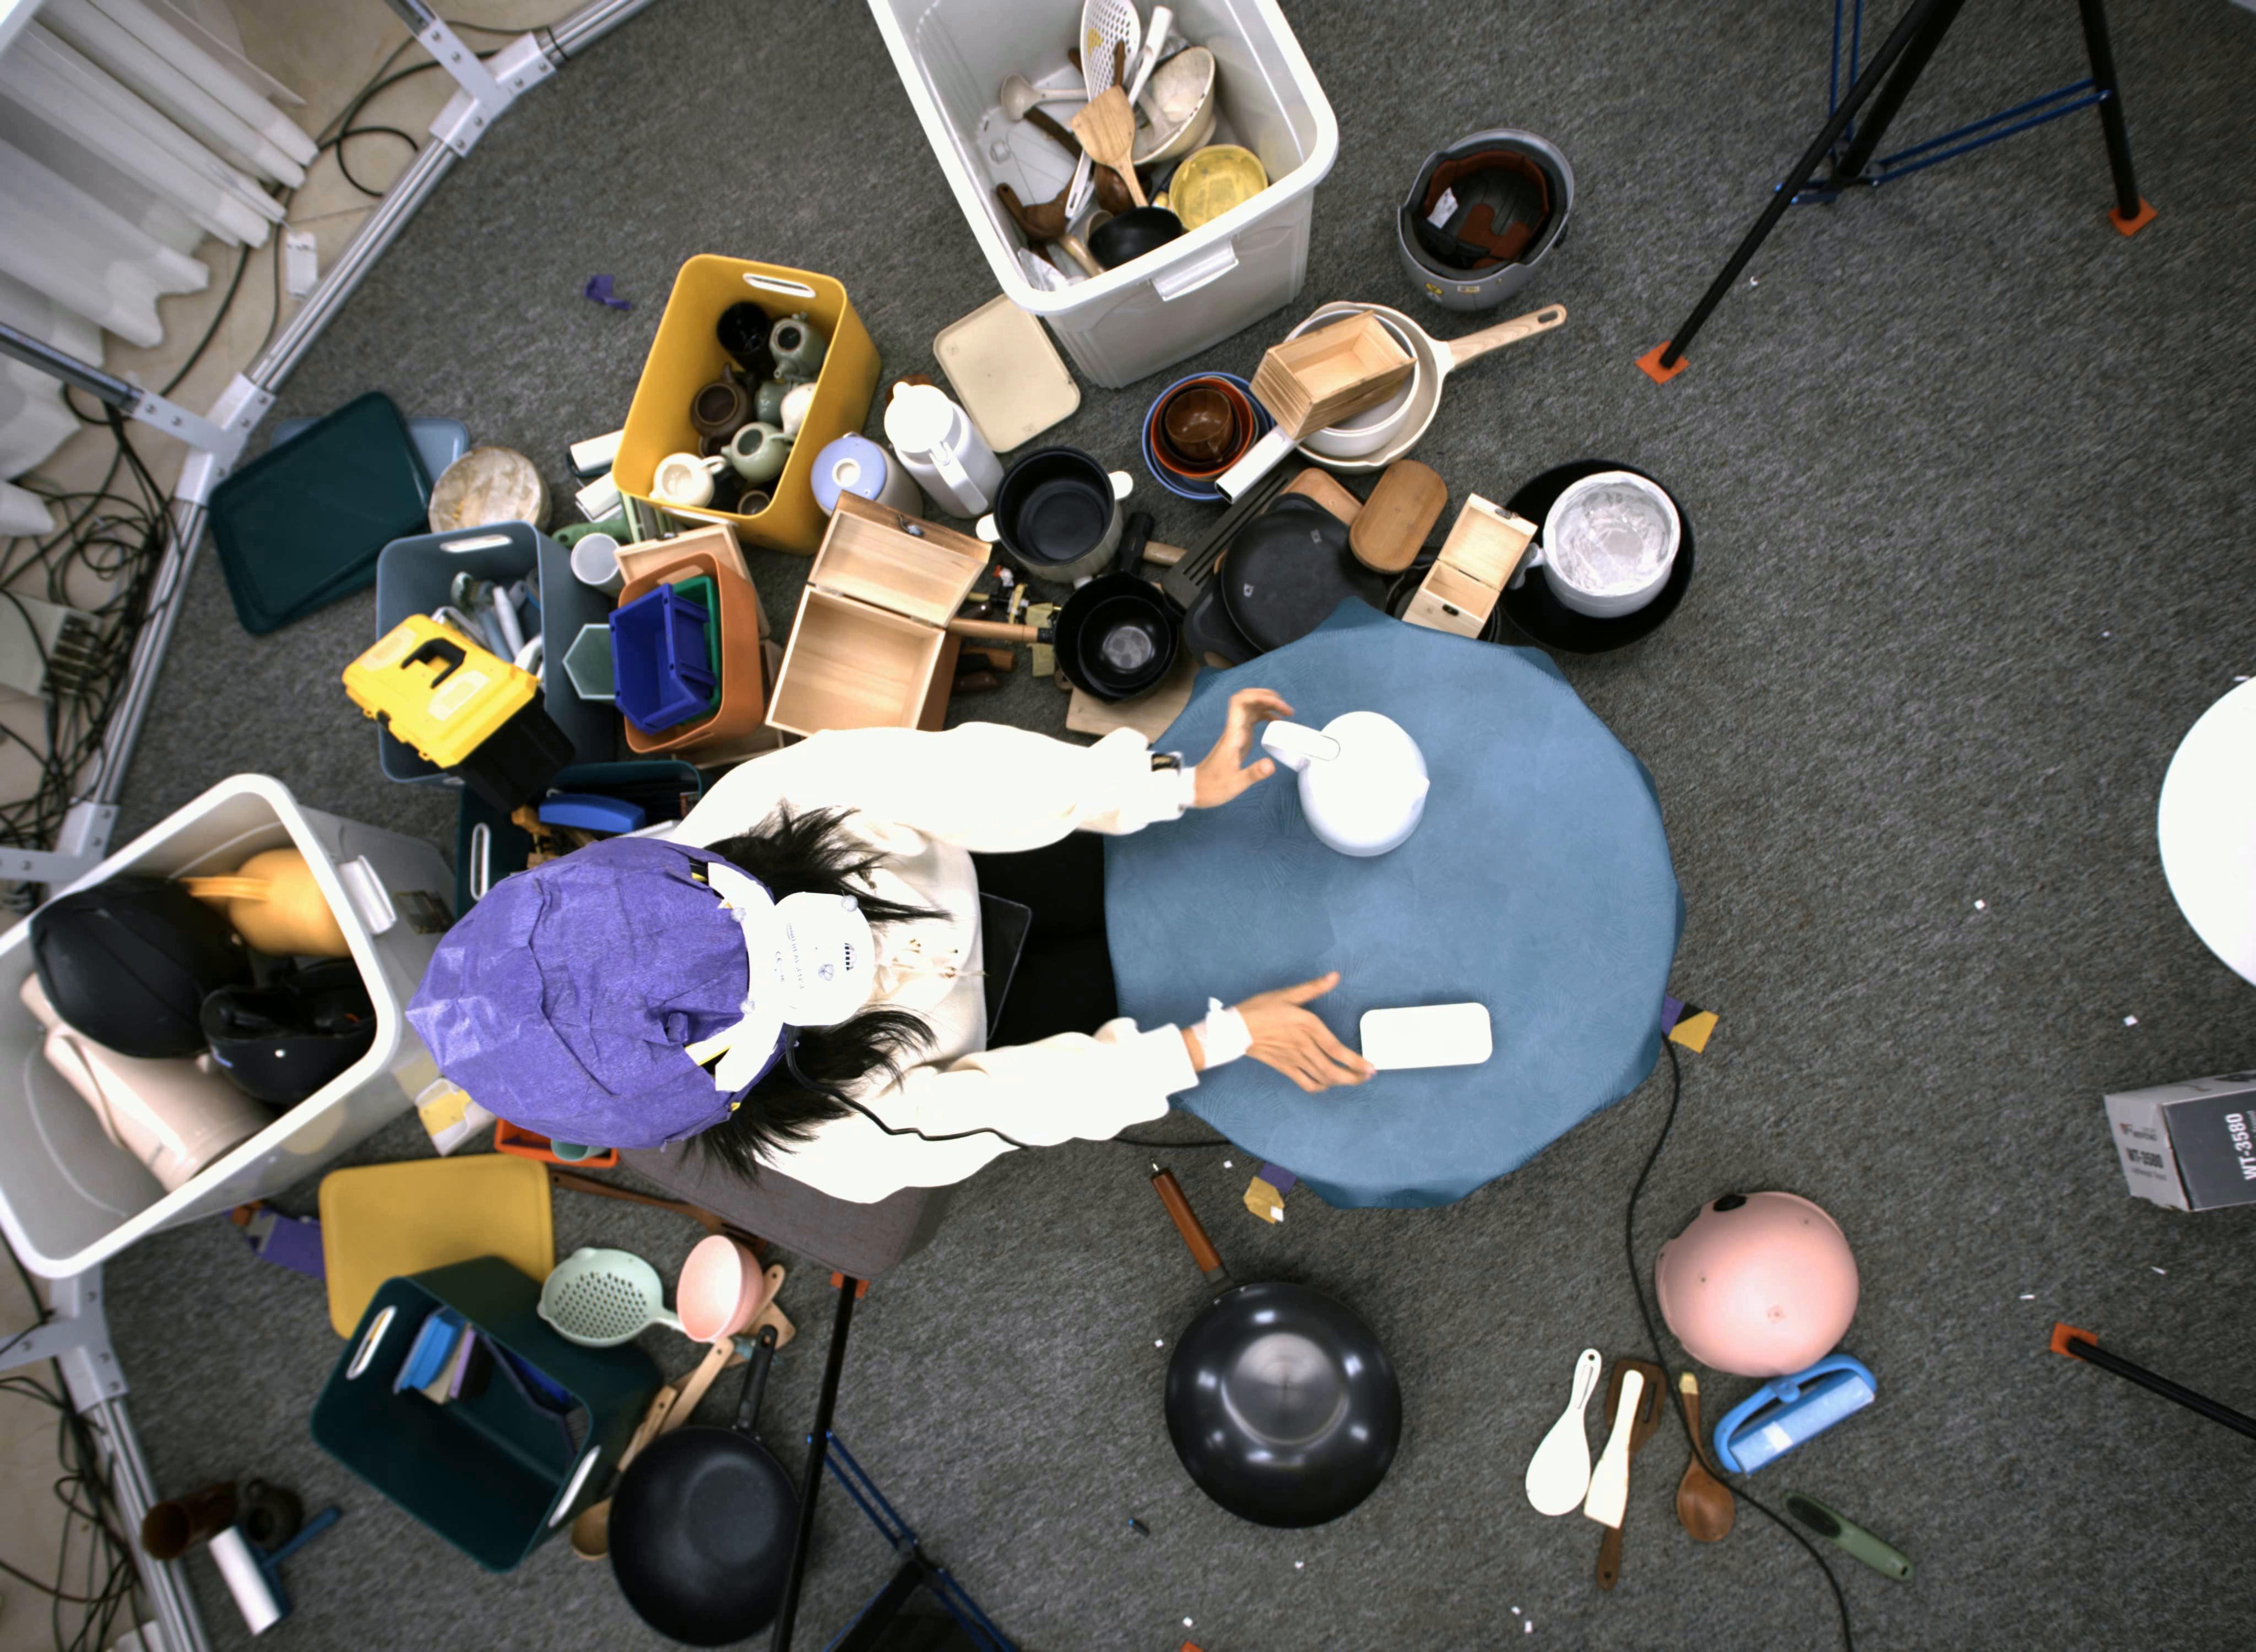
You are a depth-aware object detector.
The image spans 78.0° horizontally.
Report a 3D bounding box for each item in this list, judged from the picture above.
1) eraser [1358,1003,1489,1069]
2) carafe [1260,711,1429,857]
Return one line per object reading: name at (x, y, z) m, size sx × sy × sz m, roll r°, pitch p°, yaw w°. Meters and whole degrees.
eraser at (0.306, 0.214, 1.430) m, size 0.132 × 0.034 × 0.063 m, roll -5°, pitch 83°, yaw 10°
carafe at (0.211, -0.053, 1.352) m, size 0.167 × 0.249 × 0.132 m, roll 23°, pitch 89°, yaw 12°
